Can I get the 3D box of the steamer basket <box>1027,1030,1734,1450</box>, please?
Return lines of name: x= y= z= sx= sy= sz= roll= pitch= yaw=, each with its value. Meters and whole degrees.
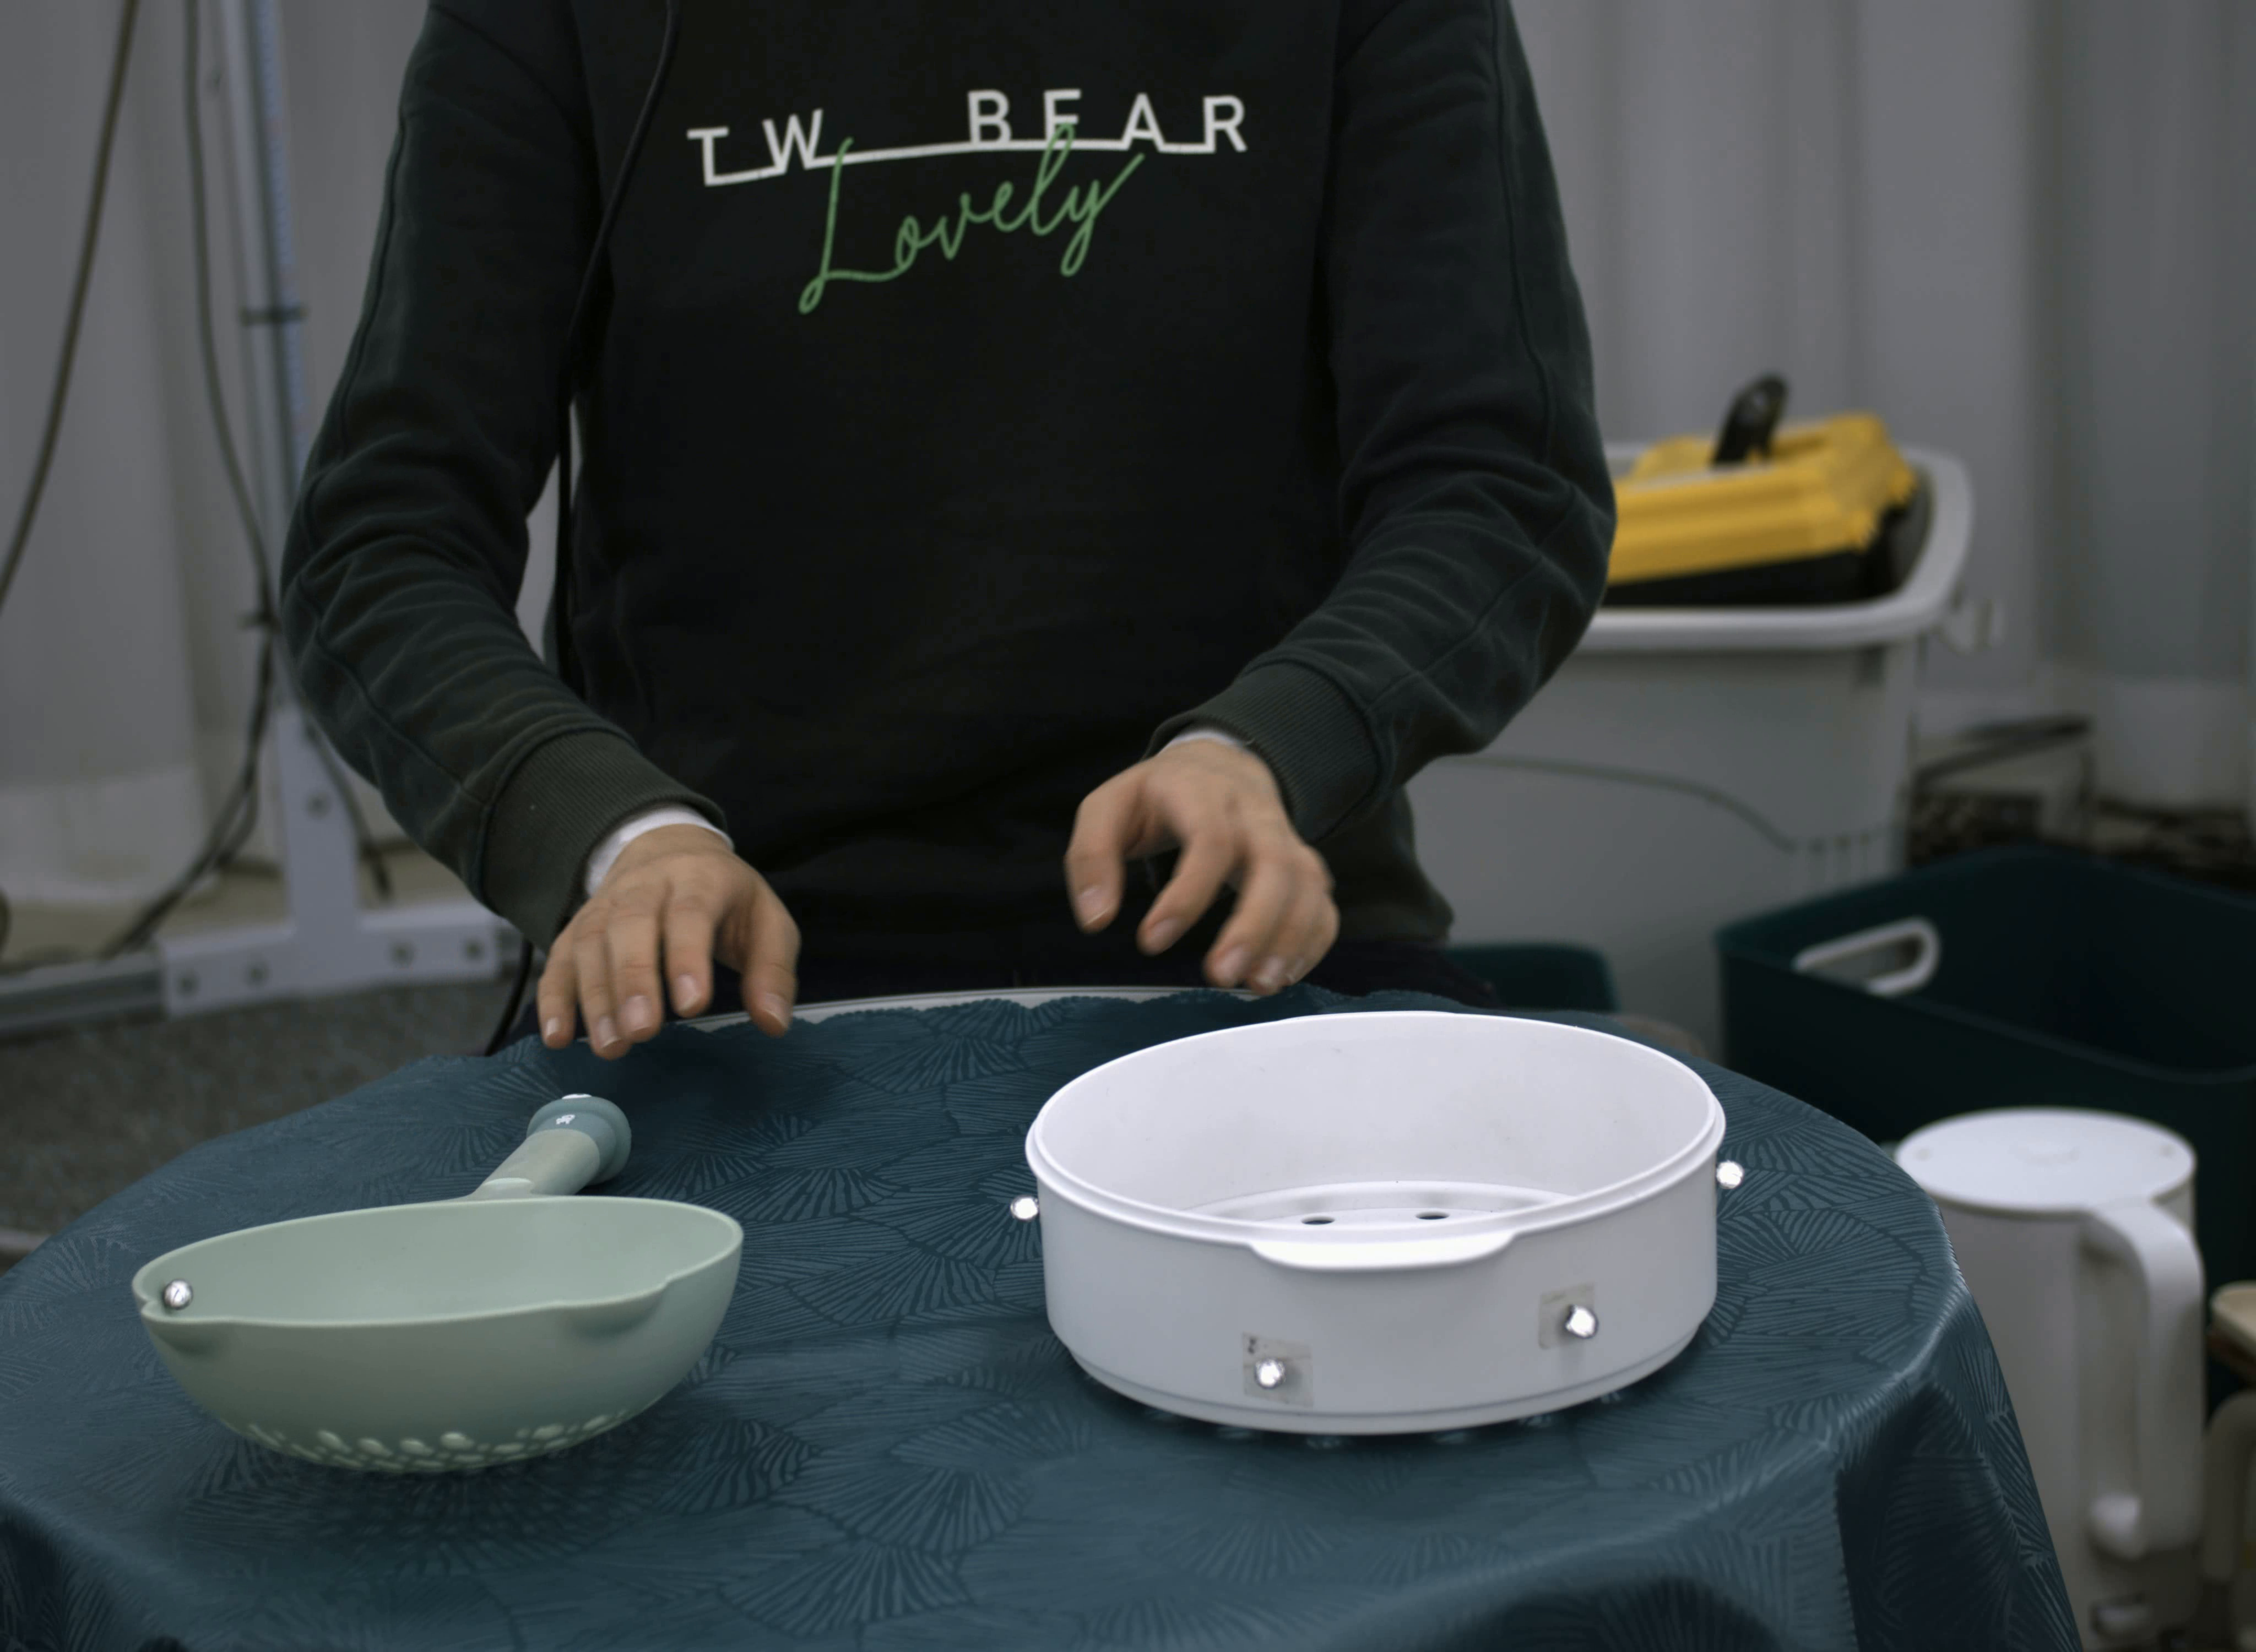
steamer basket: x=0.073 y=0.118 z=1.567 sx=0.201 sy=0.069 sz=0.232 roll=-2 pitch=14 yaw=1

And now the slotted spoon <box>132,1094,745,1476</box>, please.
slotted spoon: x=-0.182 y=0.119 z=1.608 sx=0.169 sy=0.075 sz=0.361 roll=-2 pitch=15 yaw=4
